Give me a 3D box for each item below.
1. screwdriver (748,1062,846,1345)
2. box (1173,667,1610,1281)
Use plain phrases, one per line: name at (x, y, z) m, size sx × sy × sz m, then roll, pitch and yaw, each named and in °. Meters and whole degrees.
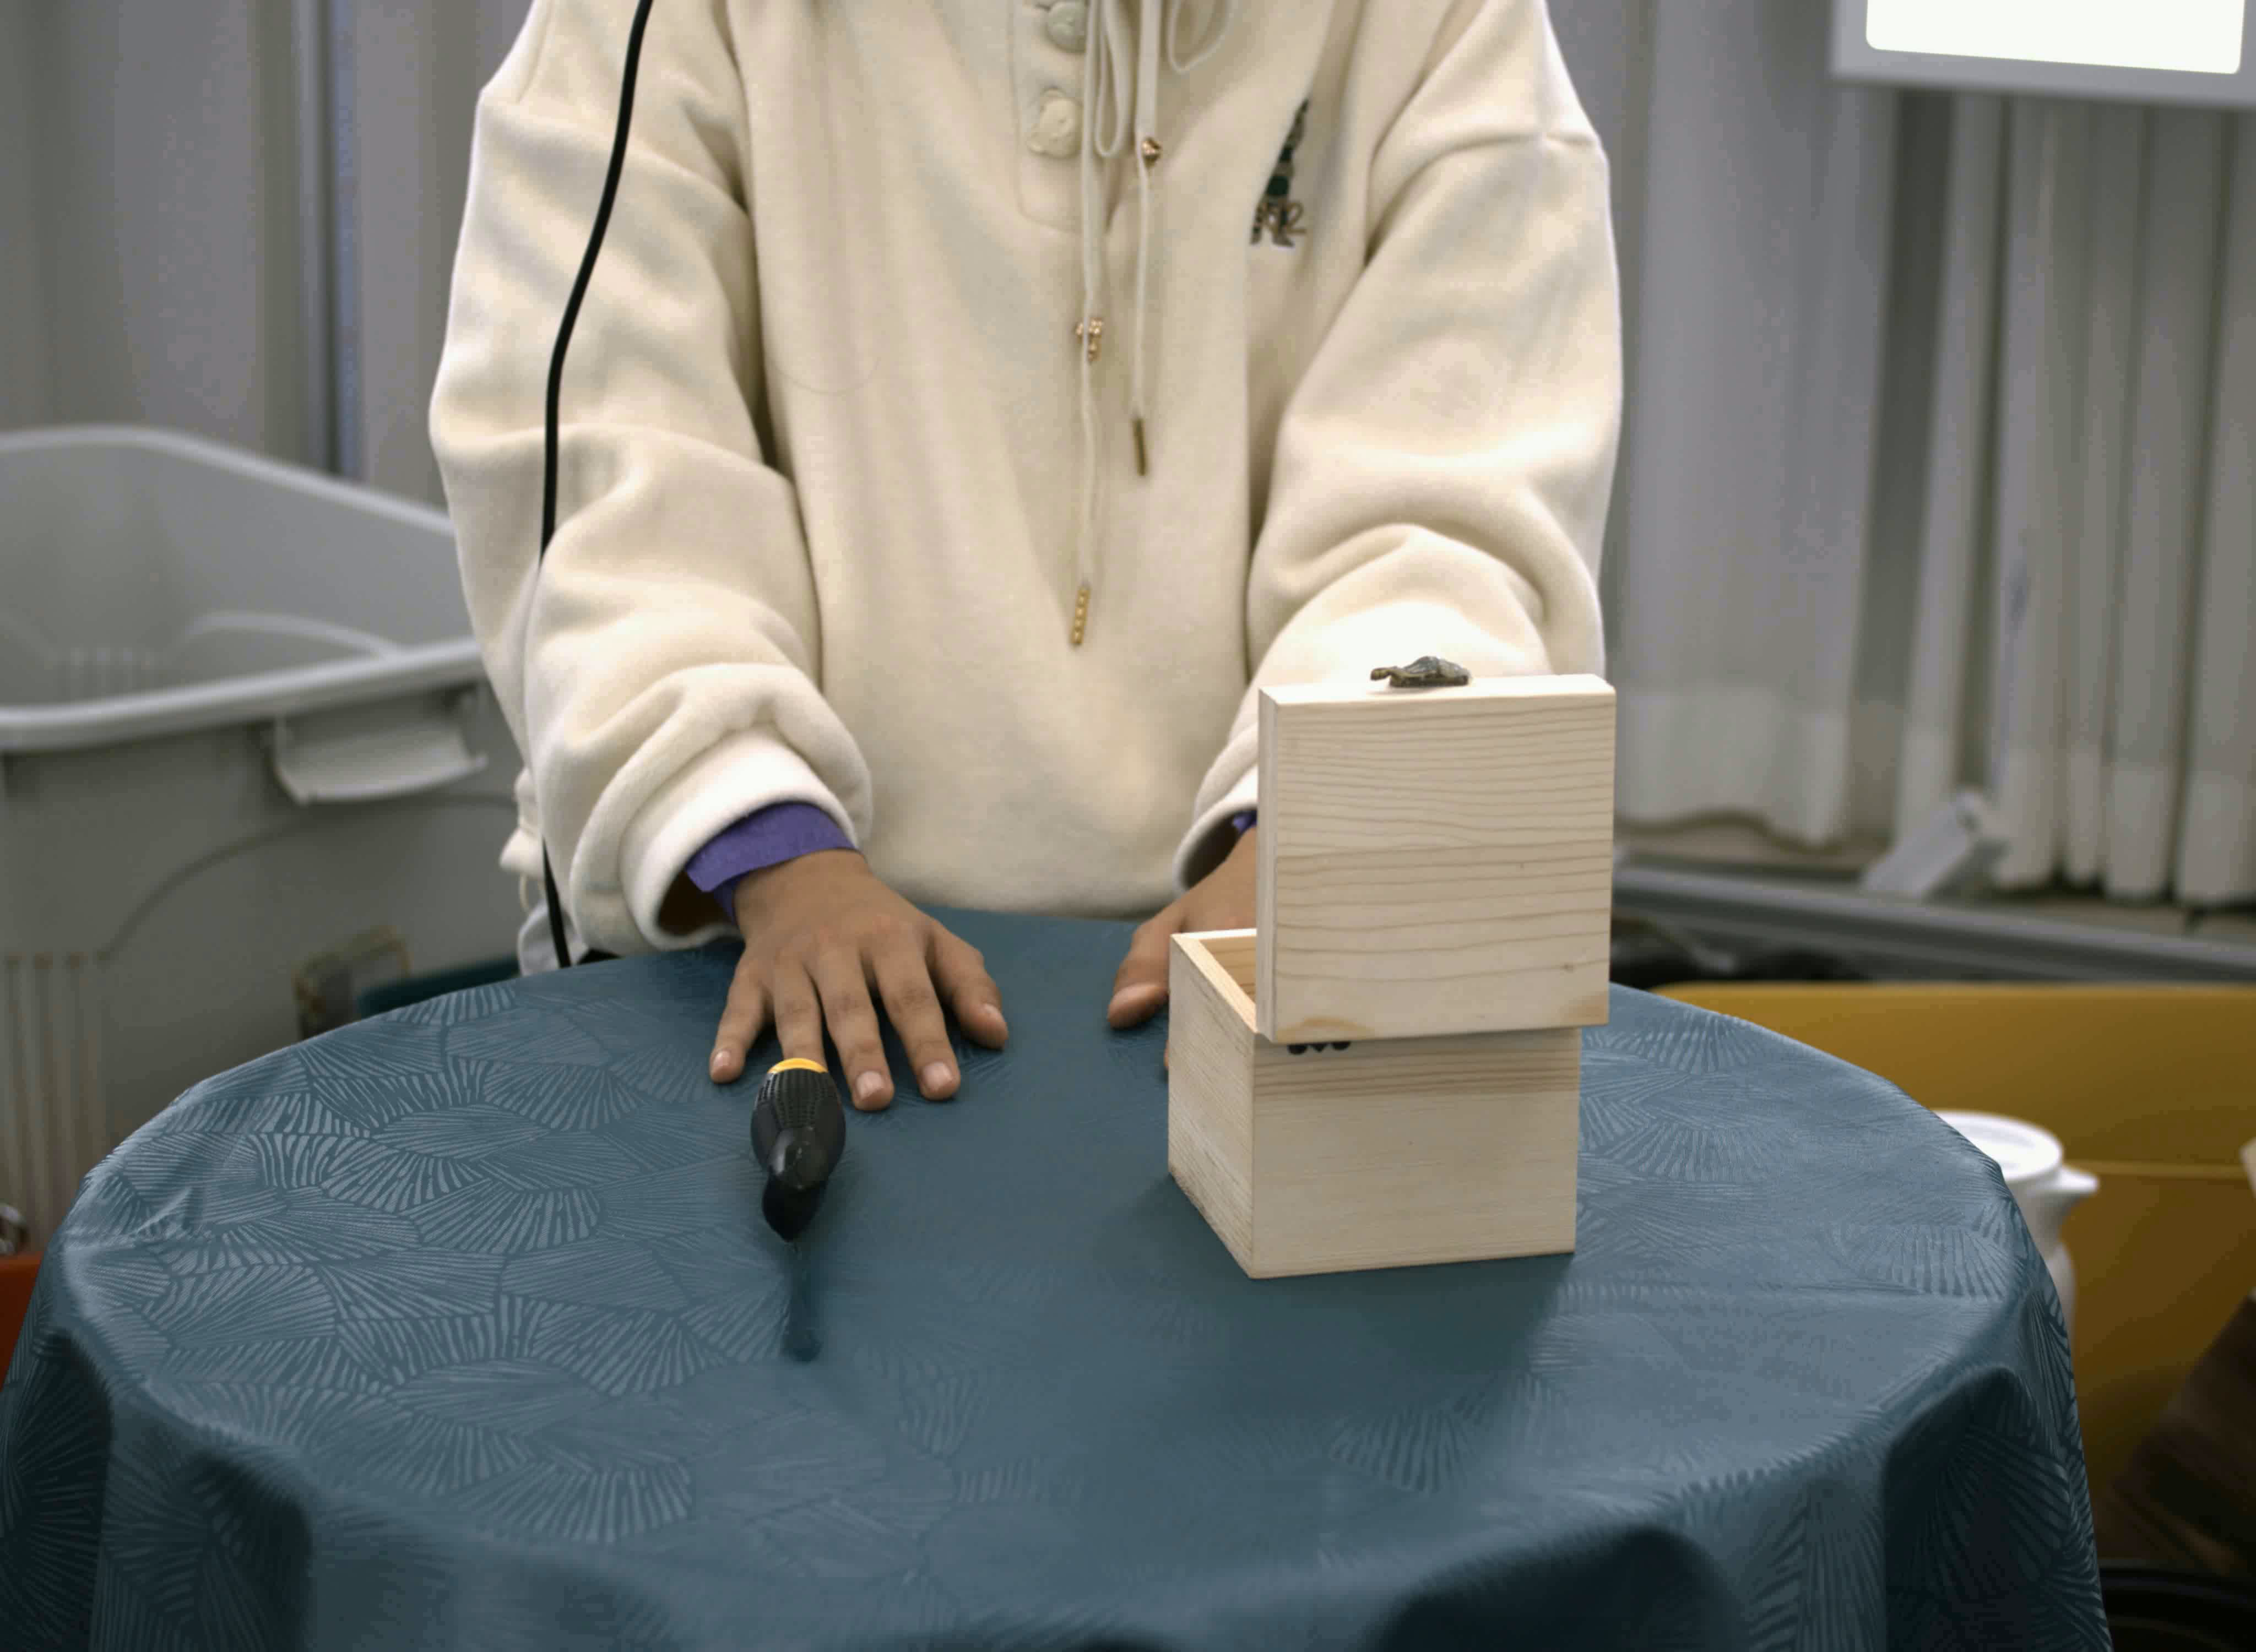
screwdriver at (-0.102, 0.114, 1.570) m, size 0.031 × 0.032 × 0.196 m, roll 1°, pitch 18°, yaw -1°
box at (0.075, 0.032, 1.569) m, size 0.102 × 0.186 × 0.132 m, roll -4°, pitch 18°, yaw -13°
